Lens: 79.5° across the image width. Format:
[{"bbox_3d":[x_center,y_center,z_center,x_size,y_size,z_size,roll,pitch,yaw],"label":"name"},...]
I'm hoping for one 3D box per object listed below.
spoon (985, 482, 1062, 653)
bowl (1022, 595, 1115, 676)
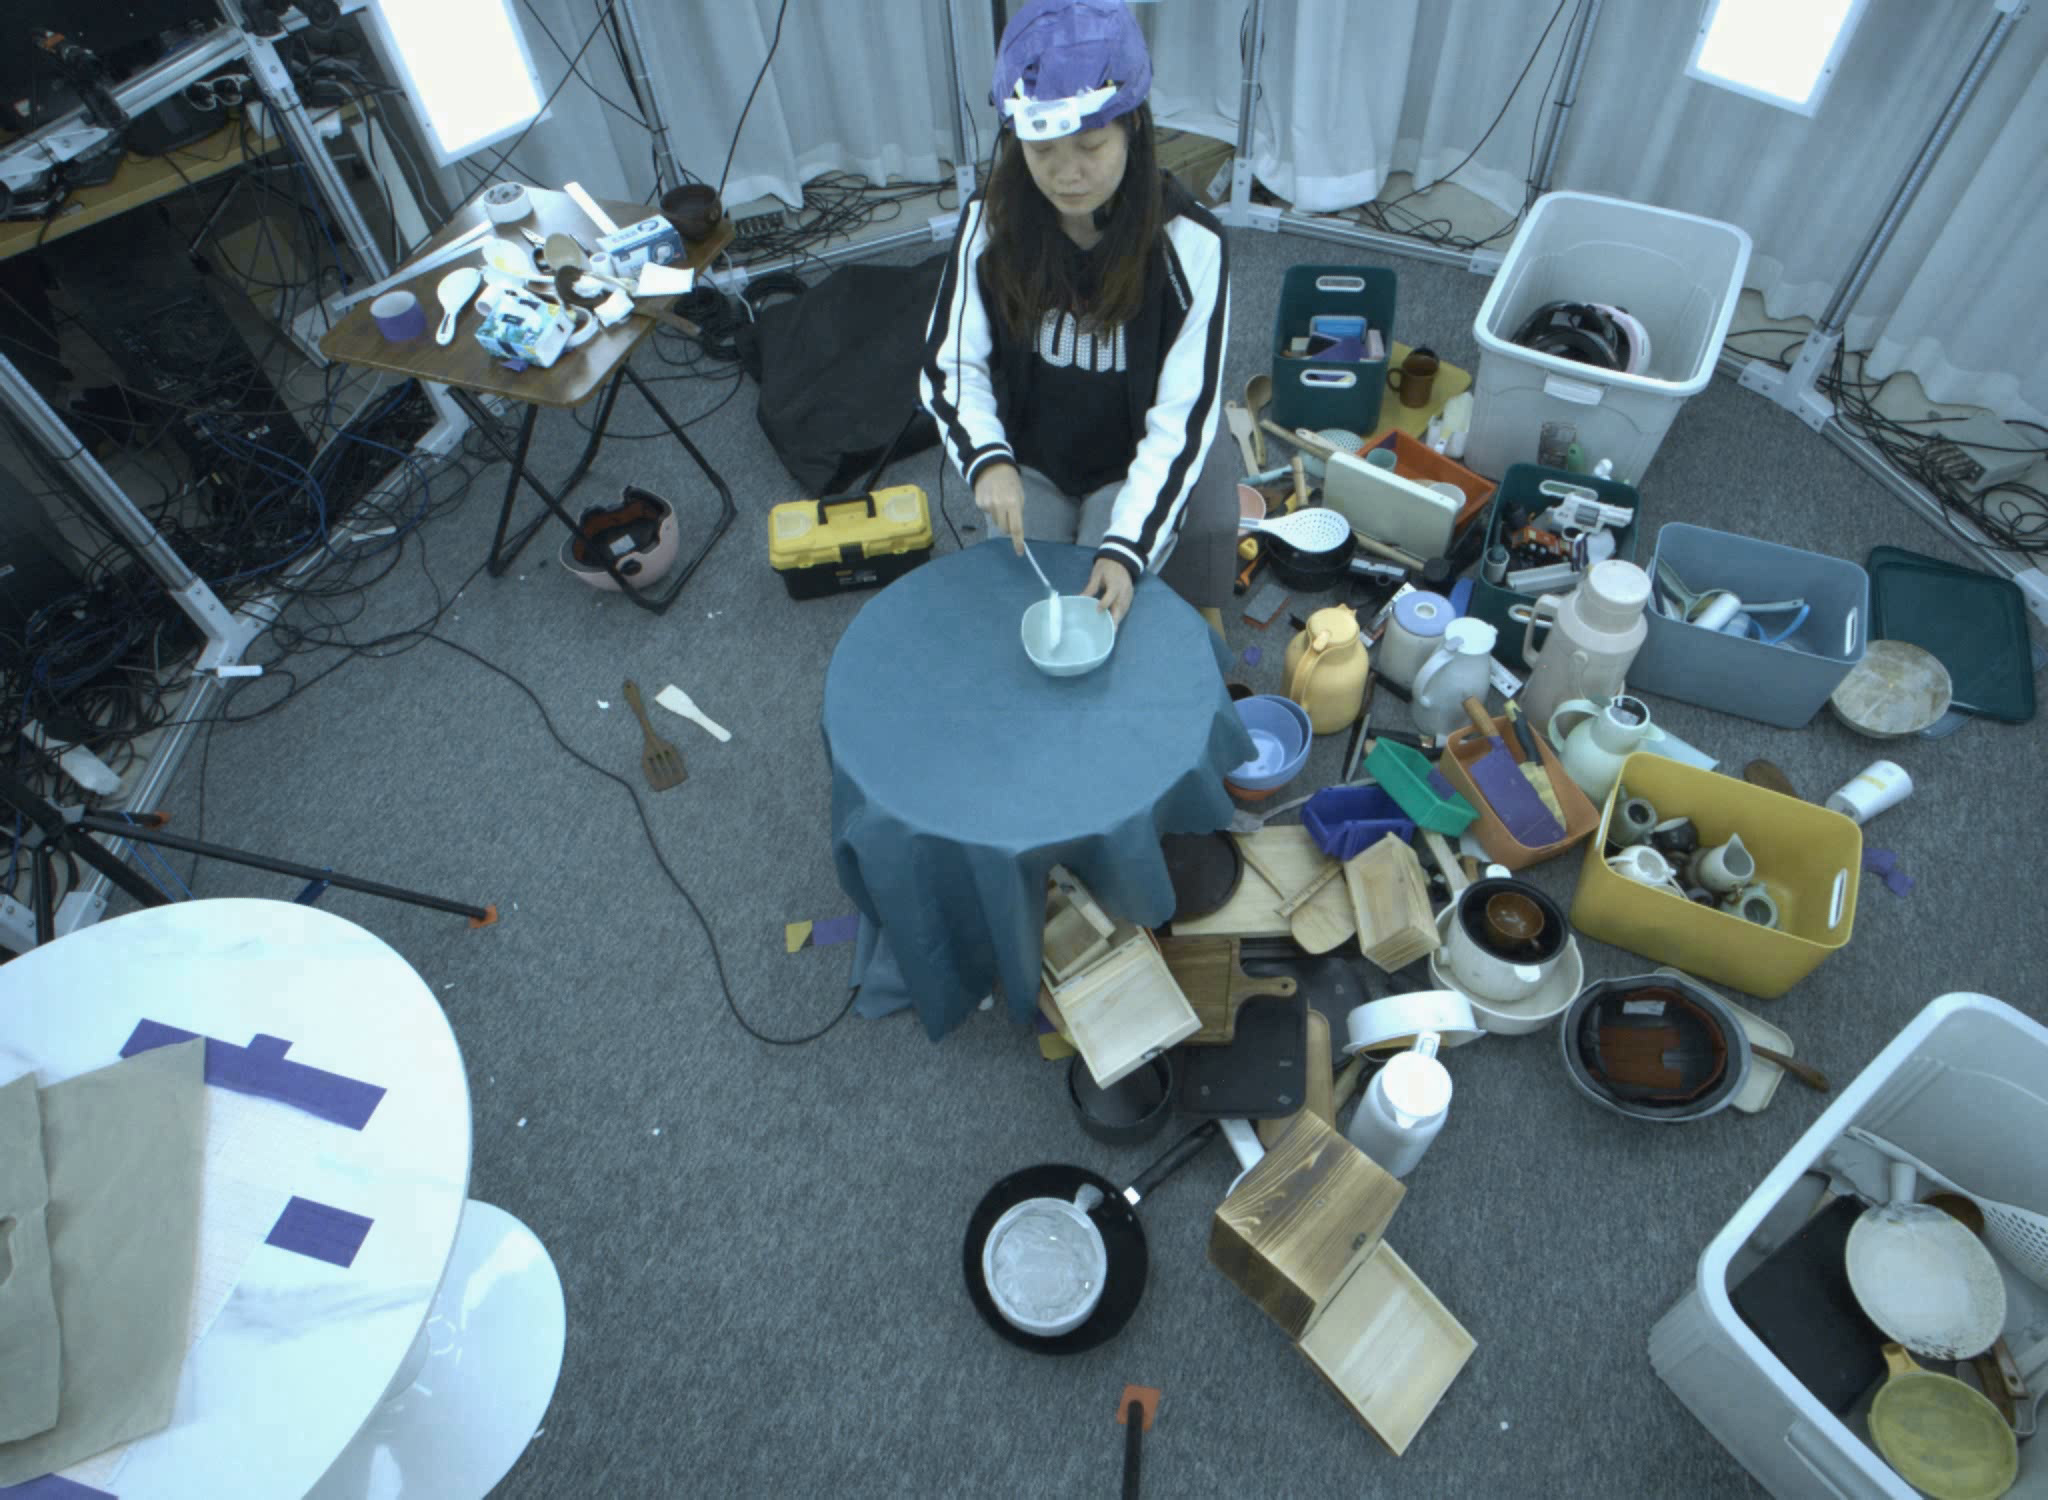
[{"bbox_3d":[-0.012,-0.278,1.844,0.060,0.100,0.276,-30,86,-11],"label":"spoon"},{"bbox_3d":[0.068,-0.164,1.869,0.151,0.059,0.150,-1,55,3],"label":"bowl"}]
